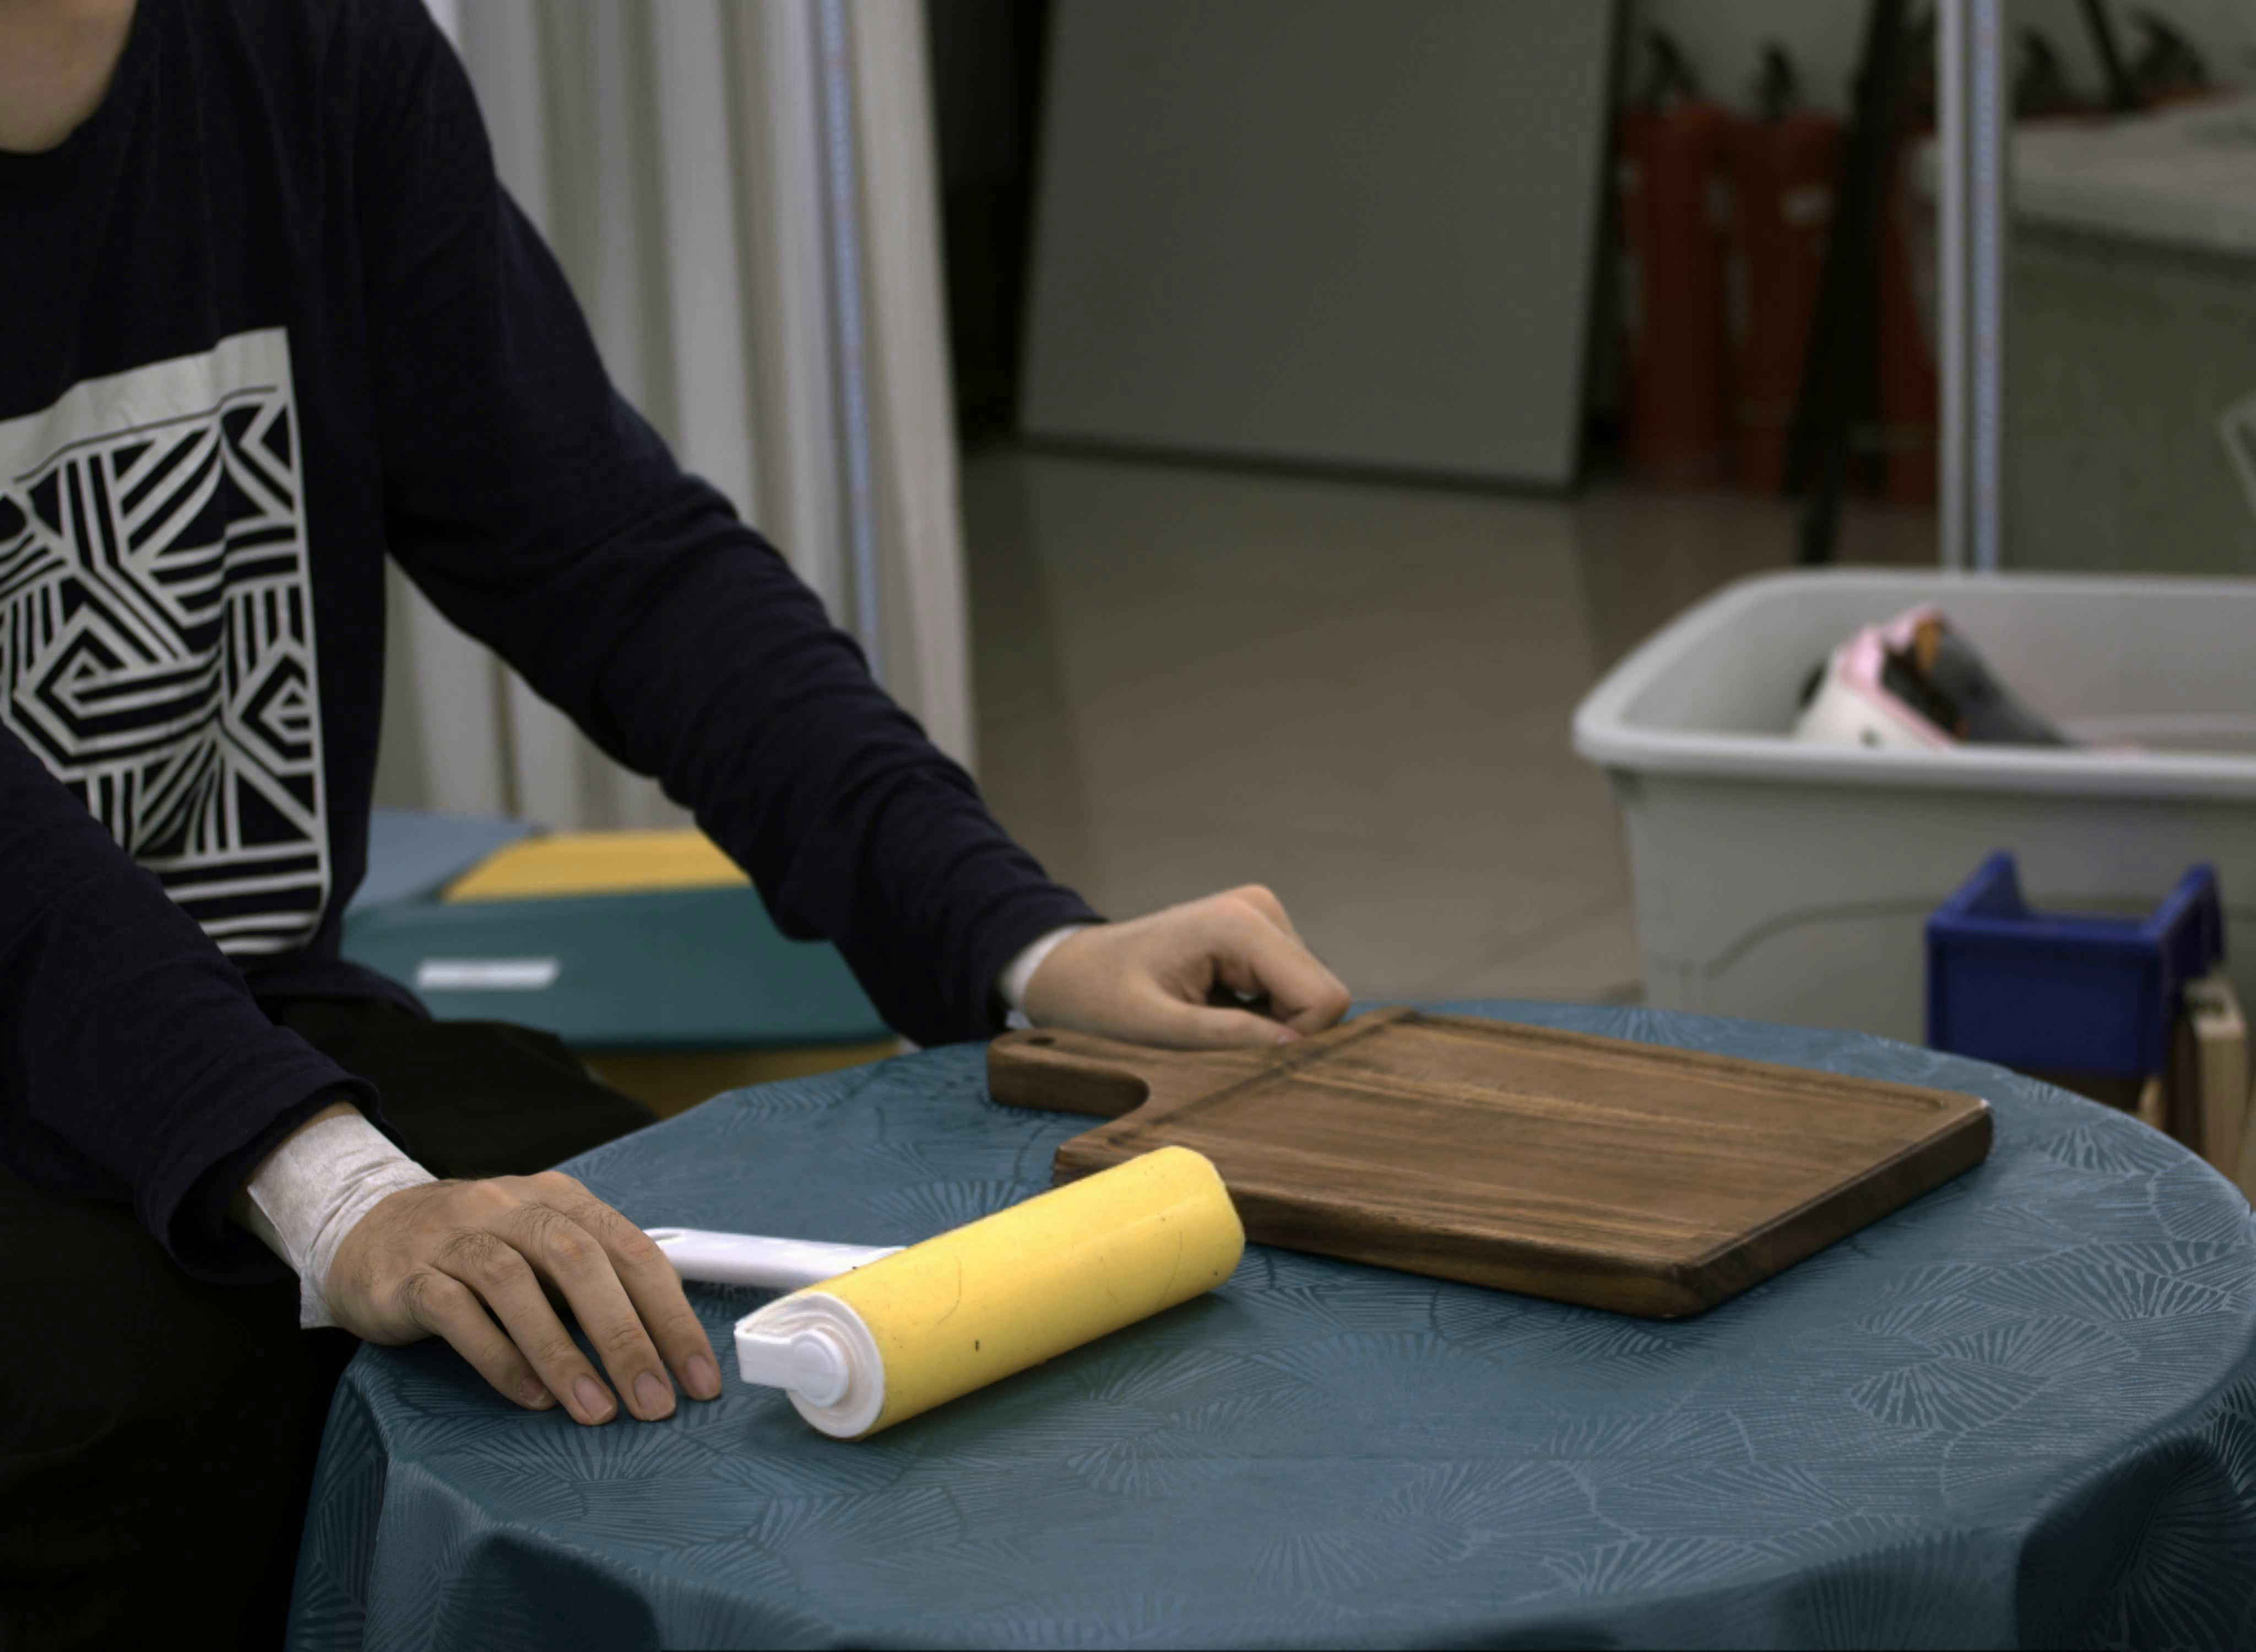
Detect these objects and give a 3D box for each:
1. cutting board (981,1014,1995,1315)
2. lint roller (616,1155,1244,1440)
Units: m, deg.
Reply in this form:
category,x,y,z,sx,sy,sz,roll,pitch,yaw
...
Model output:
category,x,y,z,sx,sy,sz,roll,pitch,yaw
cutting board,0.091,0.102,1.785,0.355,0.023,0.197,7,17,39
lint roller,-0.087,0.131,1.658,0.193,0.052,0.171,12,19,40
